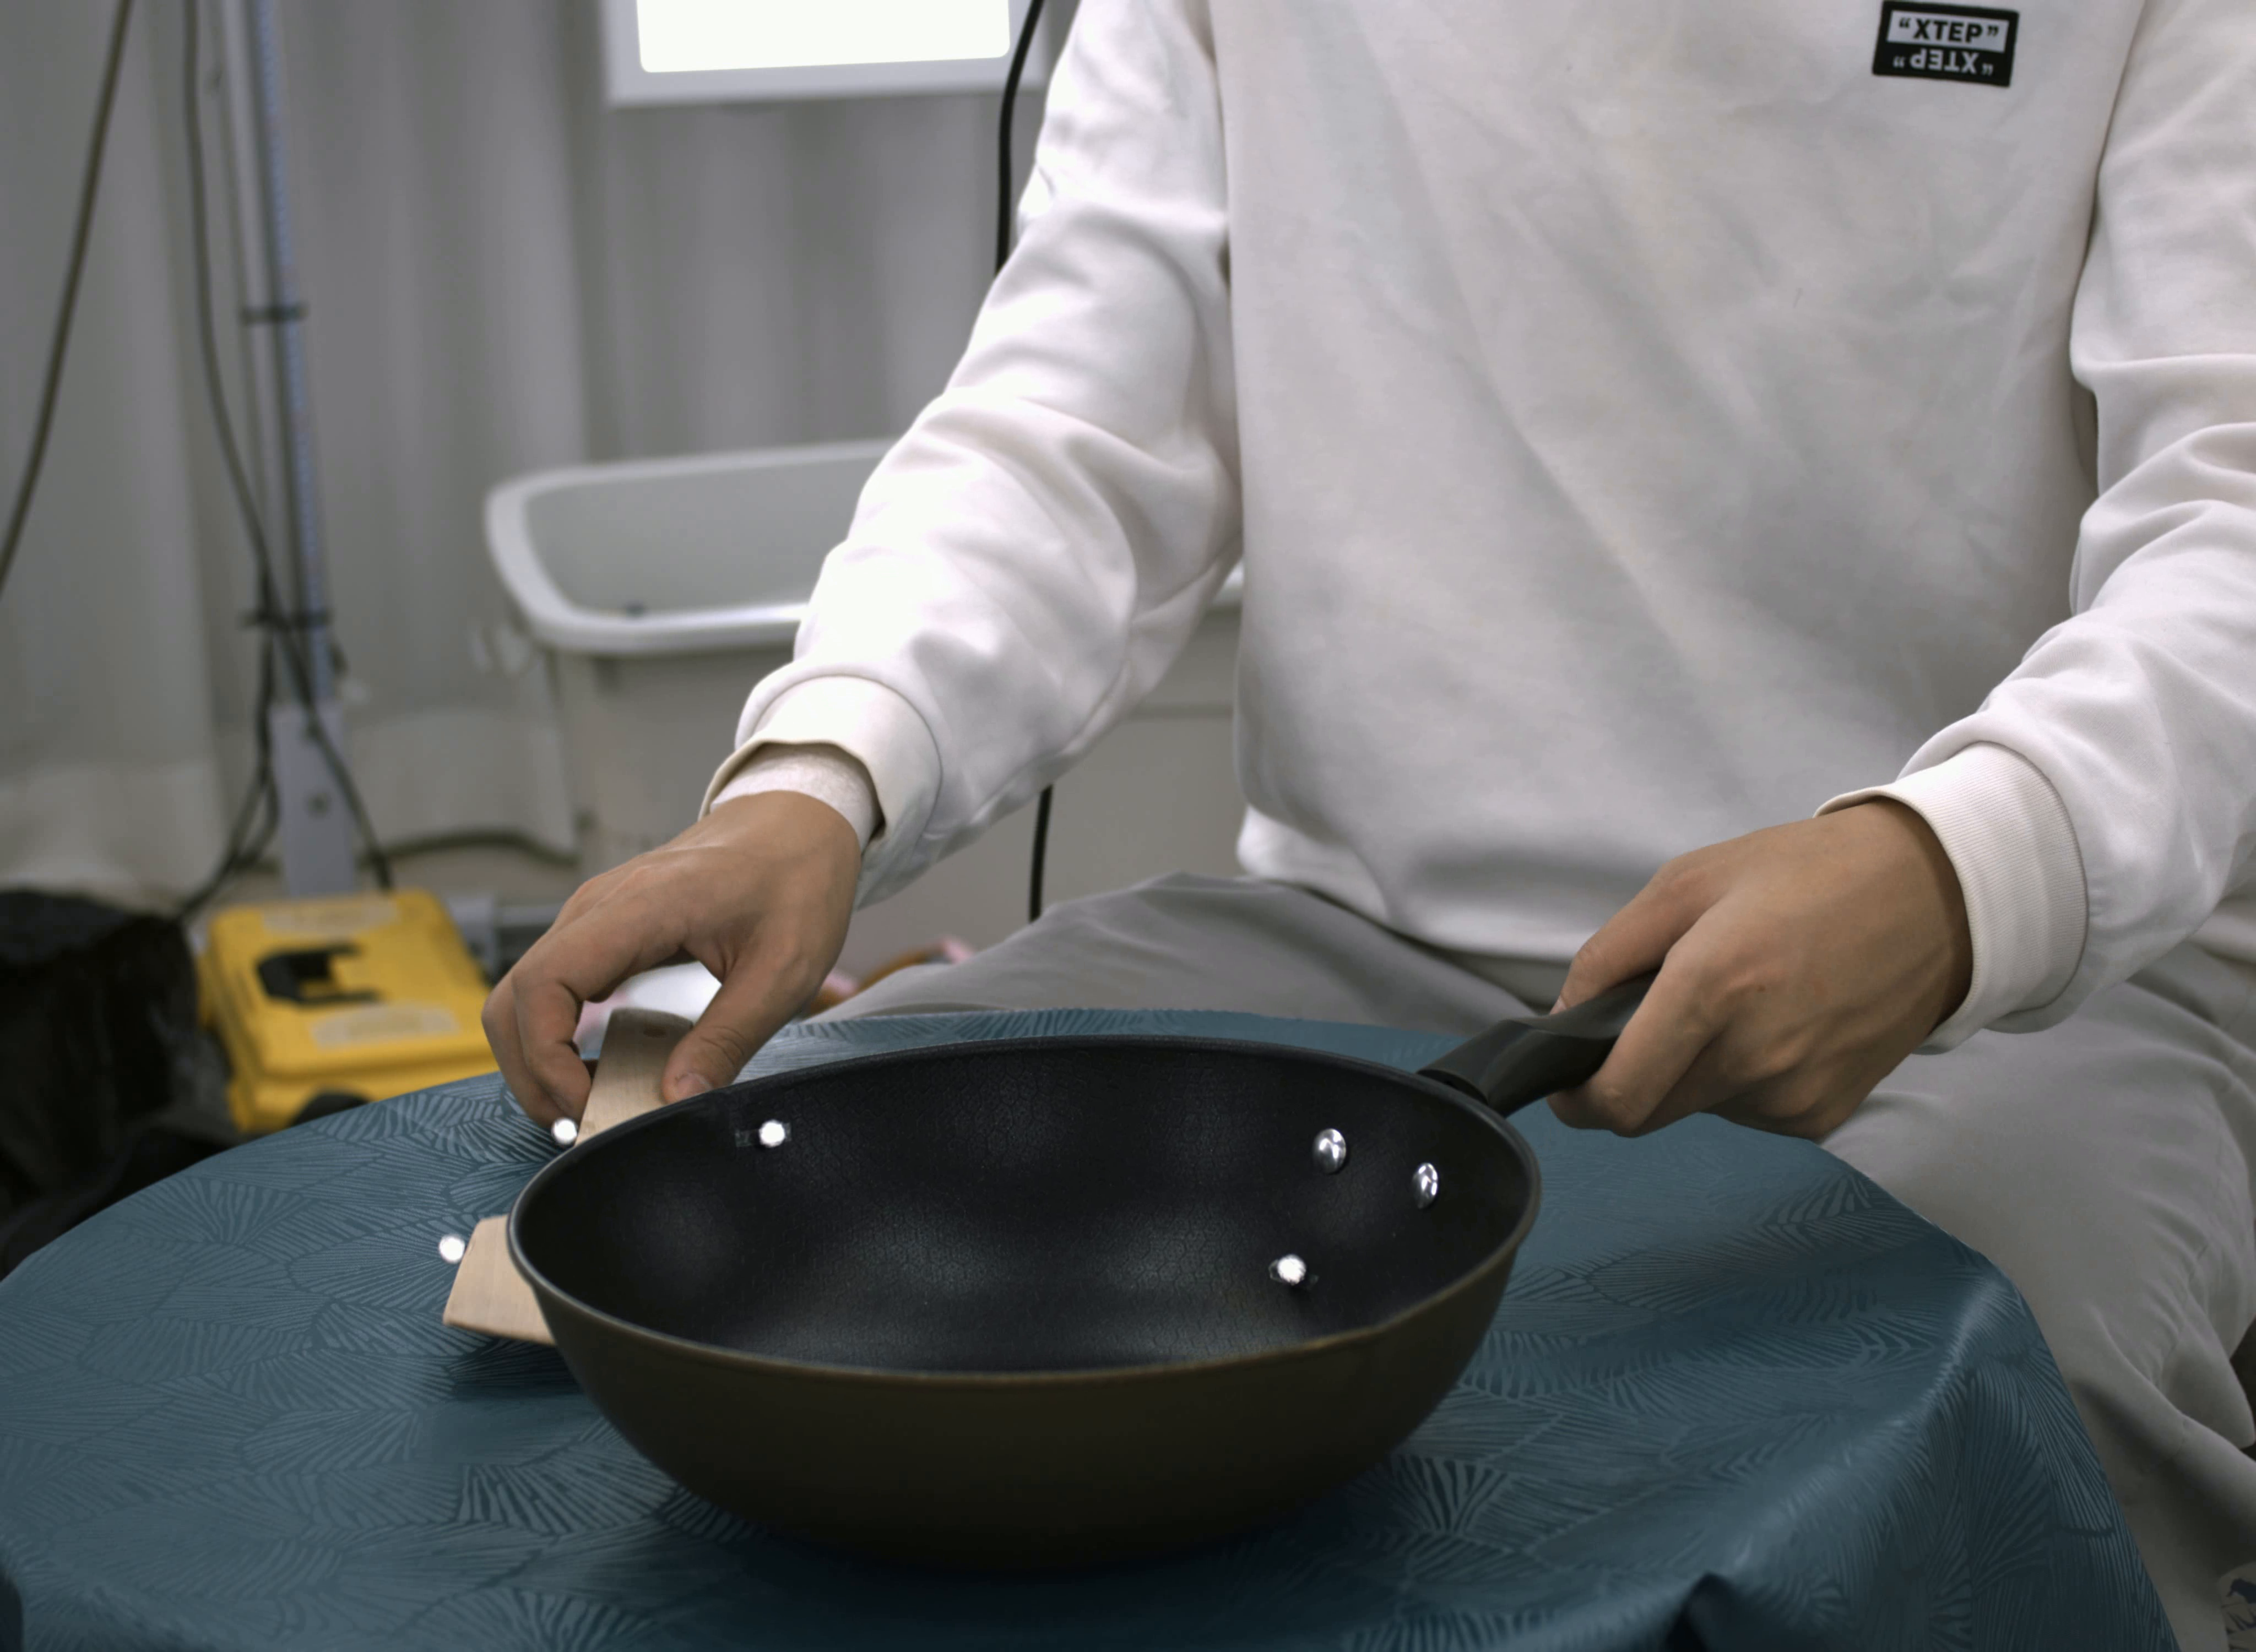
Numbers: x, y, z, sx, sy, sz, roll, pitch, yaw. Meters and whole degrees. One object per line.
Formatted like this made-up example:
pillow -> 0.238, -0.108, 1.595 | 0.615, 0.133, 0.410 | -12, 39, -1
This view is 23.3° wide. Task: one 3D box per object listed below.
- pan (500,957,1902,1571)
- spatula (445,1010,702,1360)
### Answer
pan -> 0.043, 0.117, 1.535 | 0.462, 0.086, 0.290 | -13, 18, -37
spatula -> -0.161, 0.109, 1.711 | 0.072, 0.010, 0.295 | 9, 17, -2
